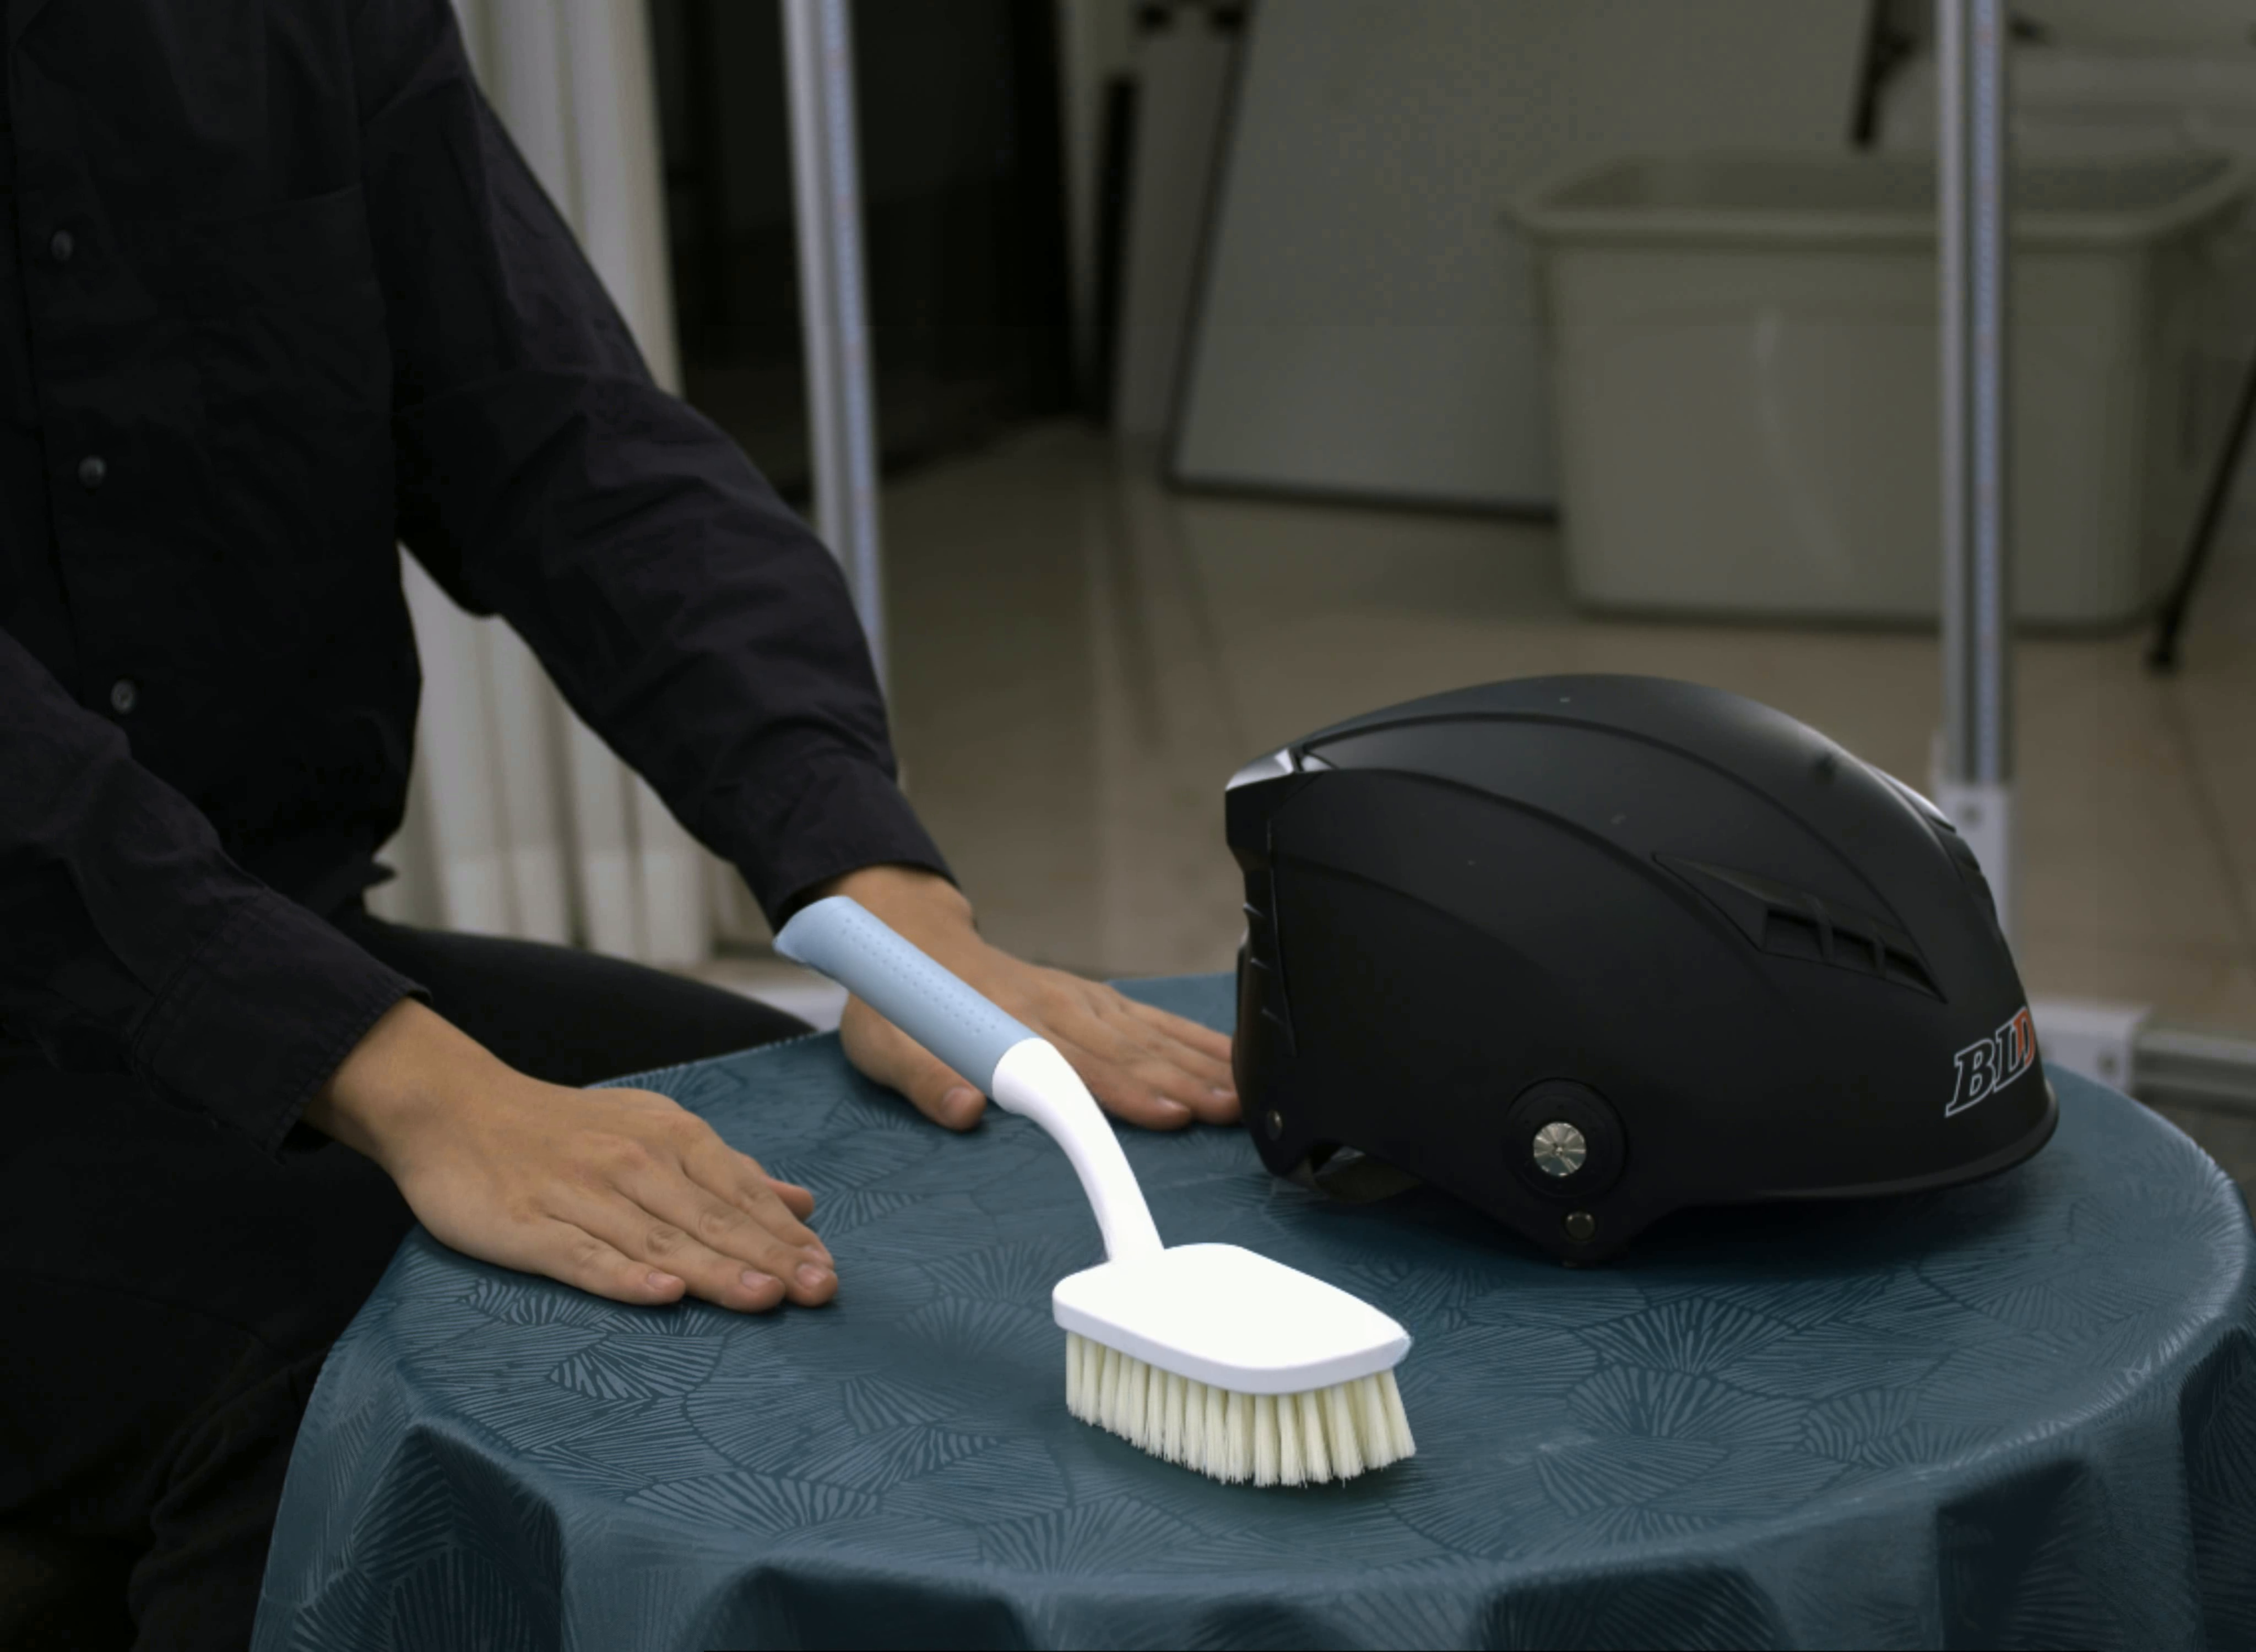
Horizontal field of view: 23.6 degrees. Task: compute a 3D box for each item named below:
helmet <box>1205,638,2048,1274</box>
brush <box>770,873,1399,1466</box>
[{"bbox_3d":[0.160,0.029,1.751,0.278,0.174,0.242,9,19,32],"label":"helmet"},{"bbox_3d":[-0.018,0.115,1.623,0.081,0.085,0.329,33,1,-41],"label":"brush"}]
